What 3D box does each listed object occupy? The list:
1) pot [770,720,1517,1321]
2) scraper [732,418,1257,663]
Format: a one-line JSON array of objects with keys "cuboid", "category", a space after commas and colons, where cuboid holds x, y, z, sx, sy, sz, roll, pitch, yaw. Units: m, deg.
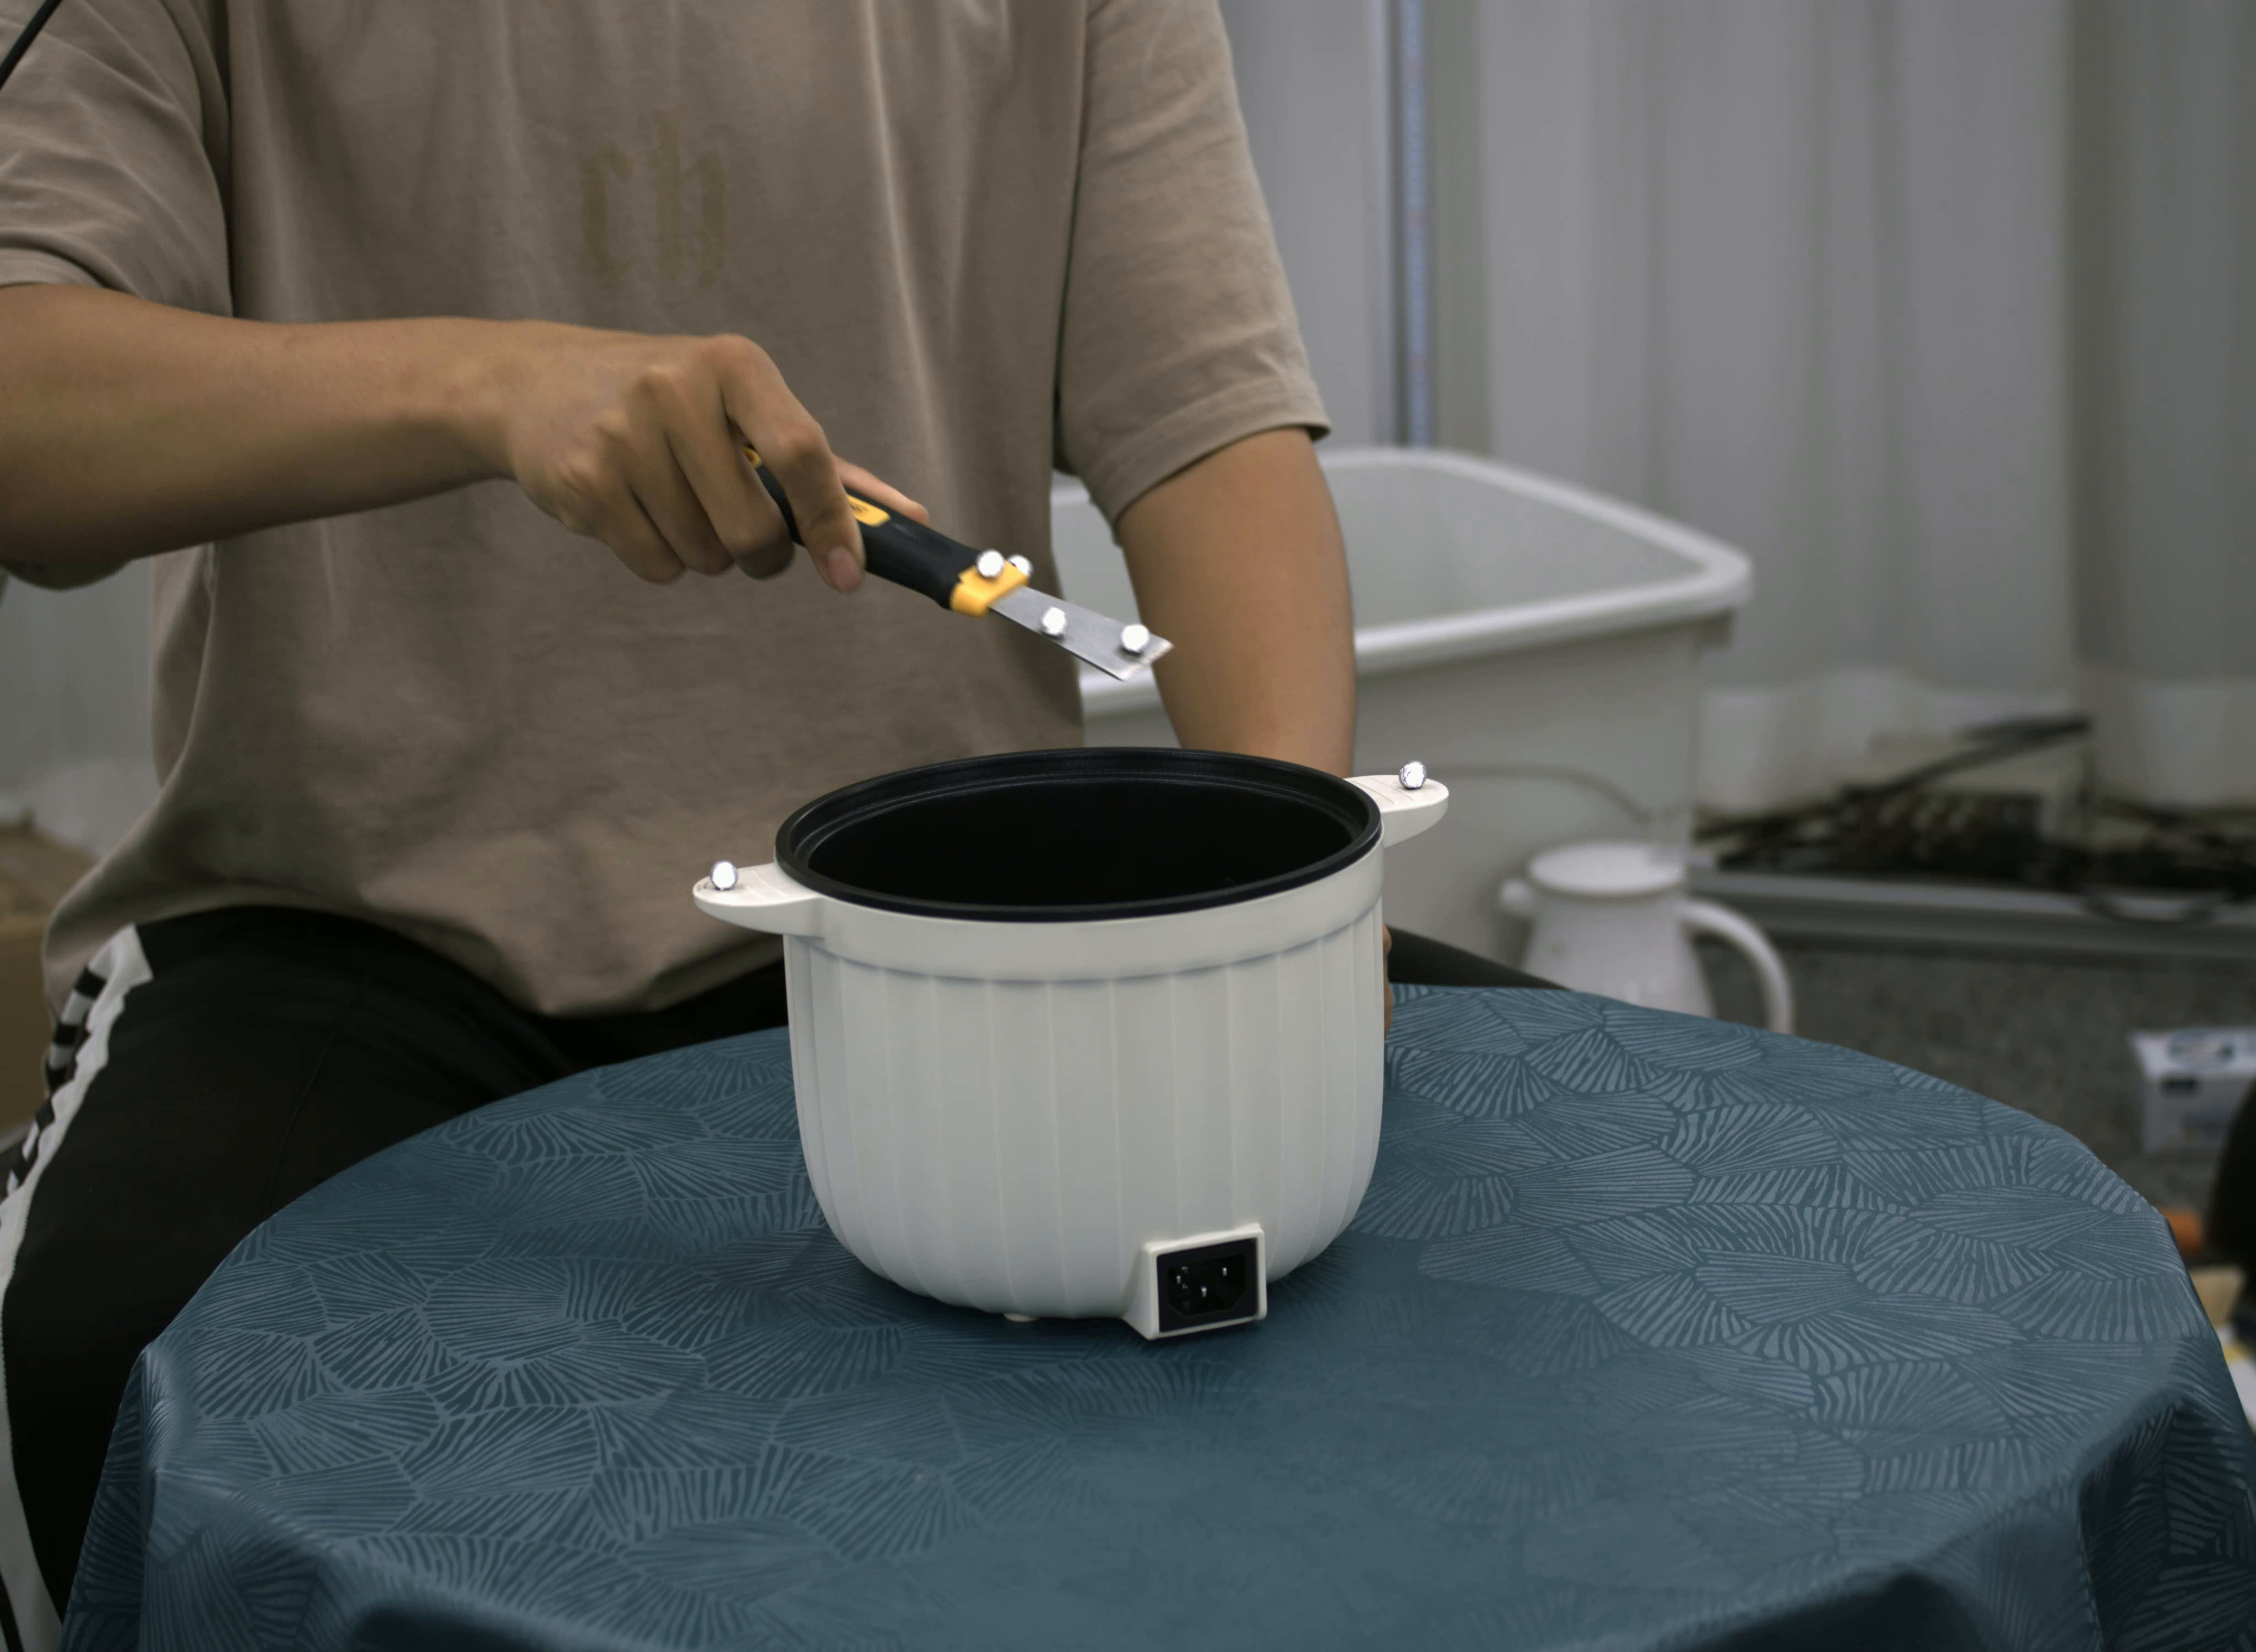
[{"cuboid": [0.006, 0.056, 1.648, 0.239, 0.142, 0.192, -8, 19, -22], "category": "pot"}, {"cuboid": [-0.043, -0.086, 1.647, 0.171, 0.015, 0.039, 23, 33, 17], "category": "scraper"}]
